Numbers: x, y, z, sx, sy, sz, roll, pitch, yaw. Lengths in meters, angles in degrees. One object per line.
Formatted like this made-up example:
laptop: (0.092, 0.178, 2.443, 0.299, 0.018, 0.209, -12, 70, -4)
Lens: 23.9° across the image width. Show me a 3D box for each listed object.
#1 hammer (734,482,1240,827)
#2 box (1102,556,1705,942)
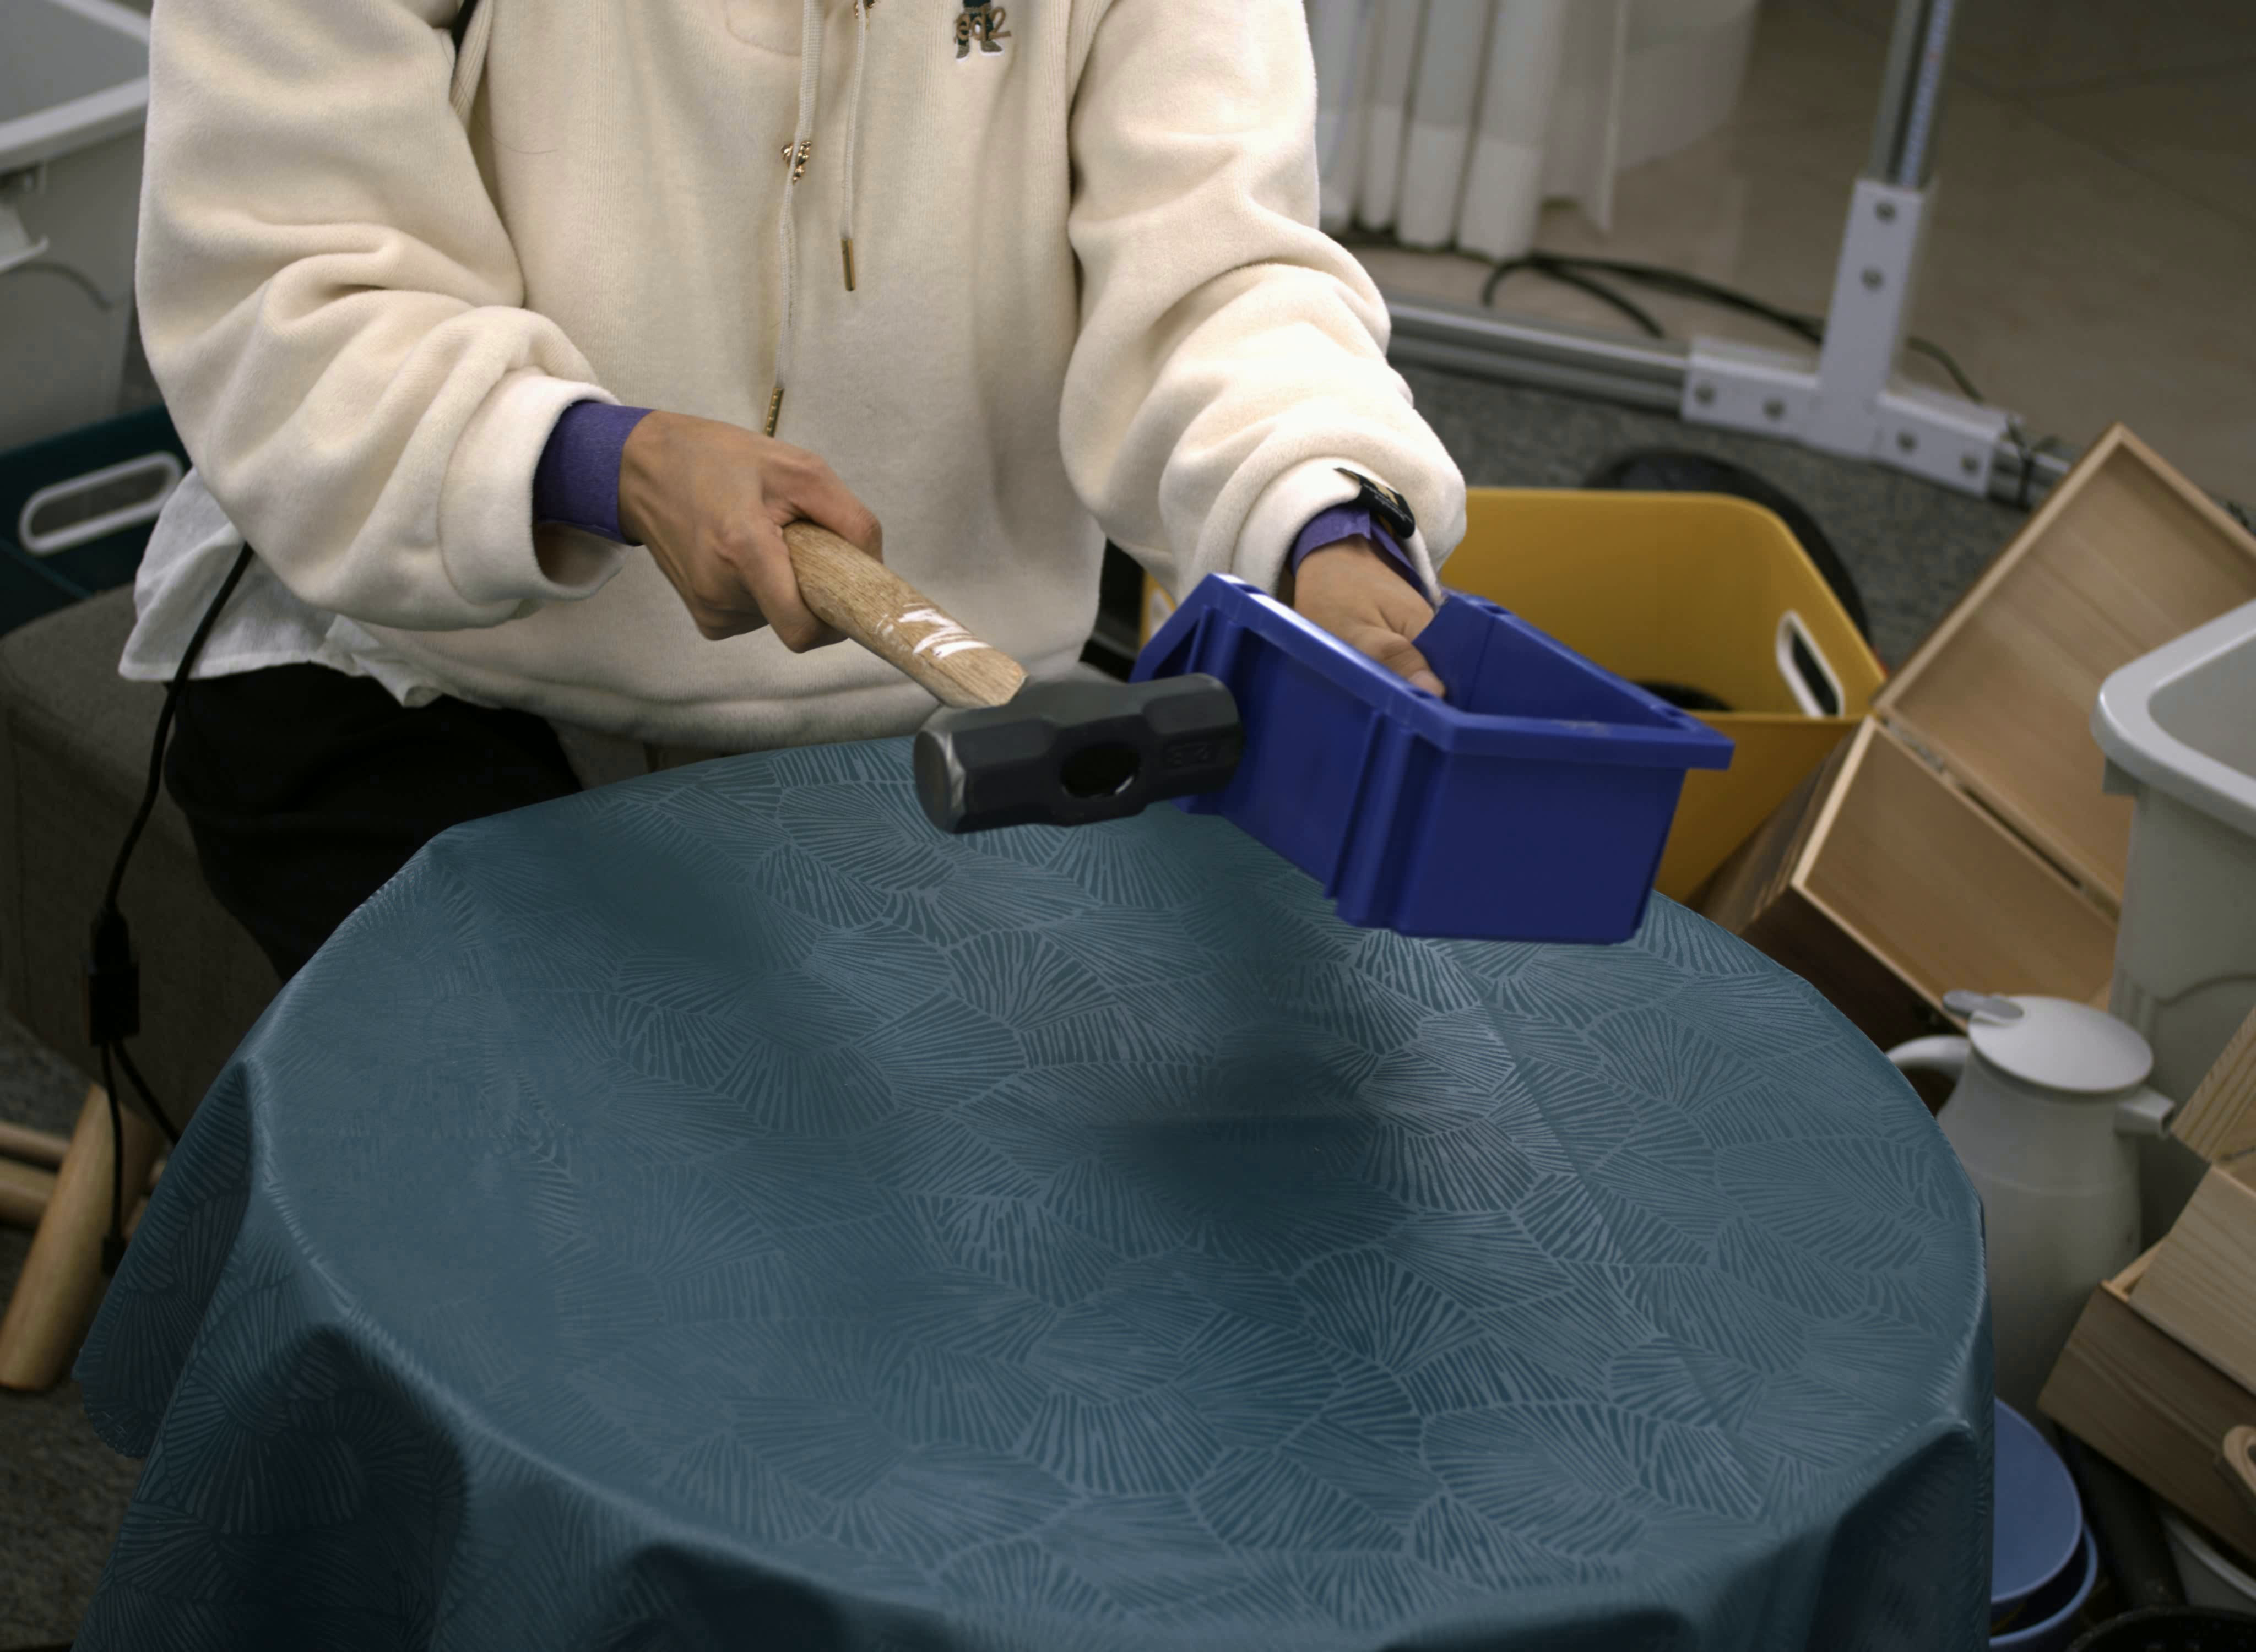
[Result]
hammer: (-0.072, -0.068, 1.858, 0.106, 0.038, 0.307, -8, 22, -22)
box: (0.087, -0.029, 1.813, 0.123, 0.082, 0.181, 4, 22, -33)
